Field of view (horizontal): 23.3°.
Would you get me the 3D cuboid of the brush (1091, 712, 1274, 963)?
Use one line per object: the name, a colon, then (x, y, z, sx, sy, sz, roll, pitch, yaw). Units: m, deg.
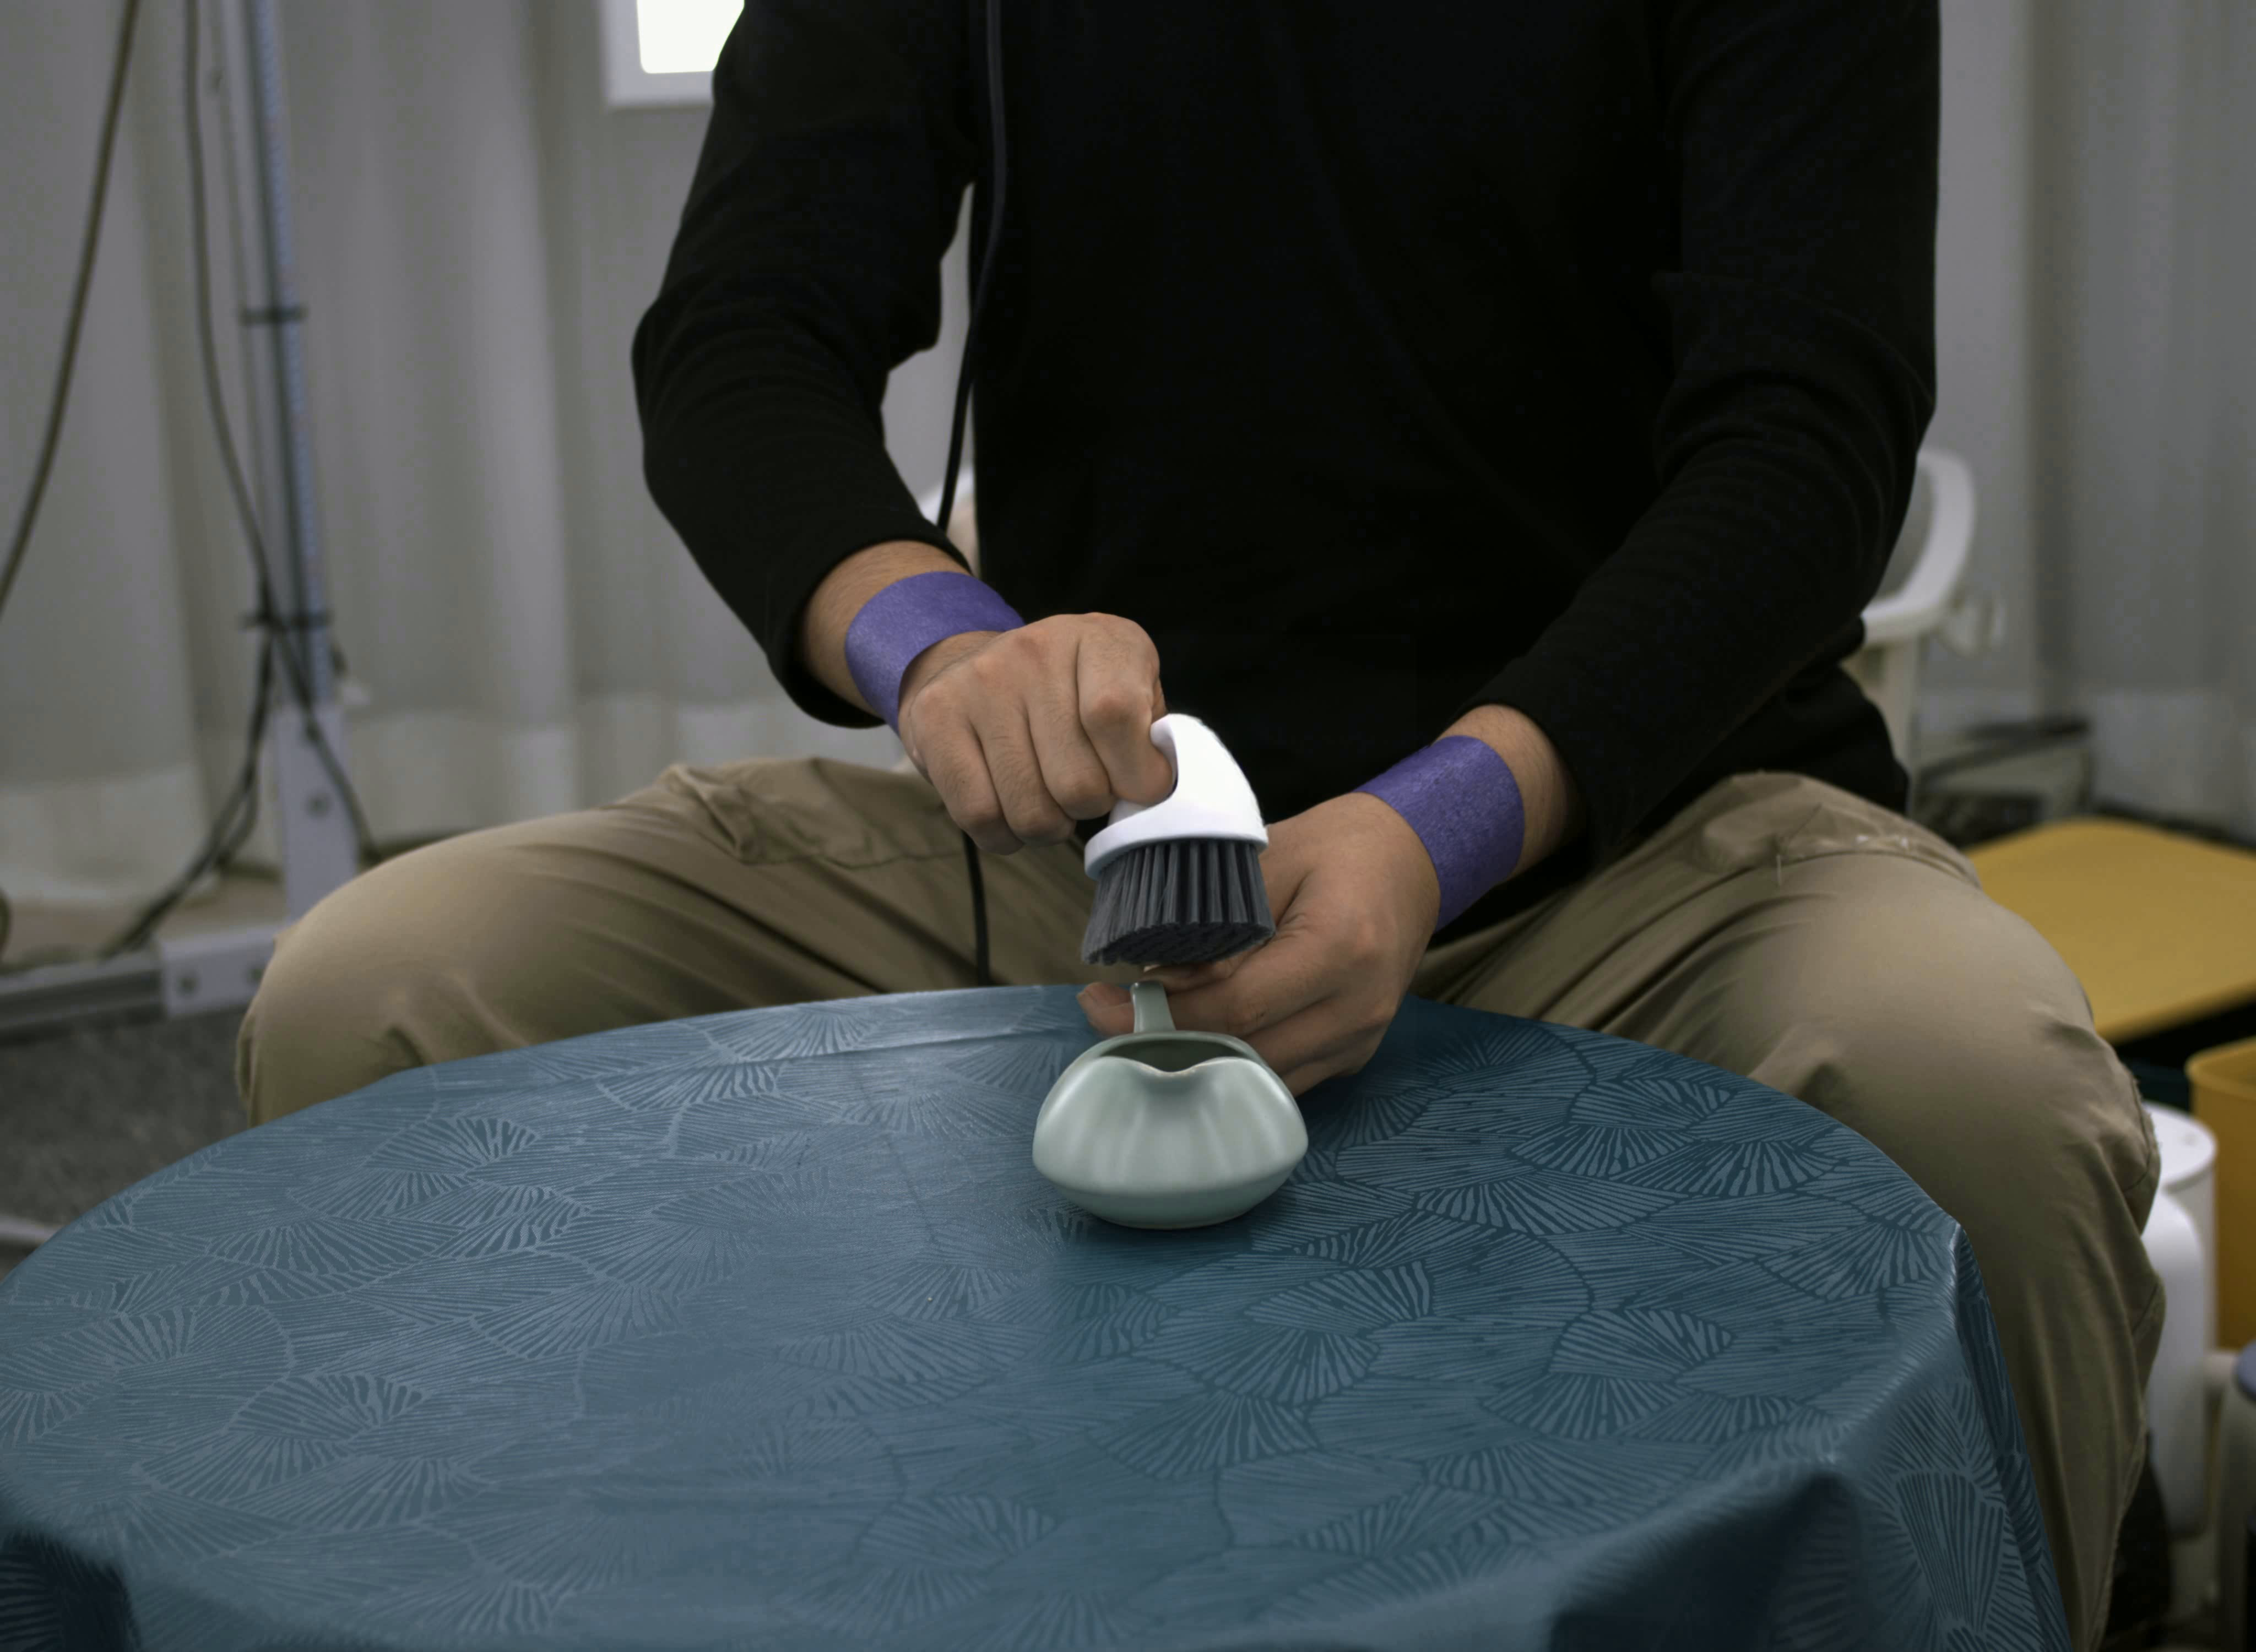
brush: (0.015, 0.001, 1.720, 0.050, 0.073, 0.099, 0, -10, -11)

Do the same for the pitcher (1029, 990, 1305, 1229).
pitcher: (0.010, 0.089, 1.703, 0.085, 0.060, 0.108, -4, 11, -6)
